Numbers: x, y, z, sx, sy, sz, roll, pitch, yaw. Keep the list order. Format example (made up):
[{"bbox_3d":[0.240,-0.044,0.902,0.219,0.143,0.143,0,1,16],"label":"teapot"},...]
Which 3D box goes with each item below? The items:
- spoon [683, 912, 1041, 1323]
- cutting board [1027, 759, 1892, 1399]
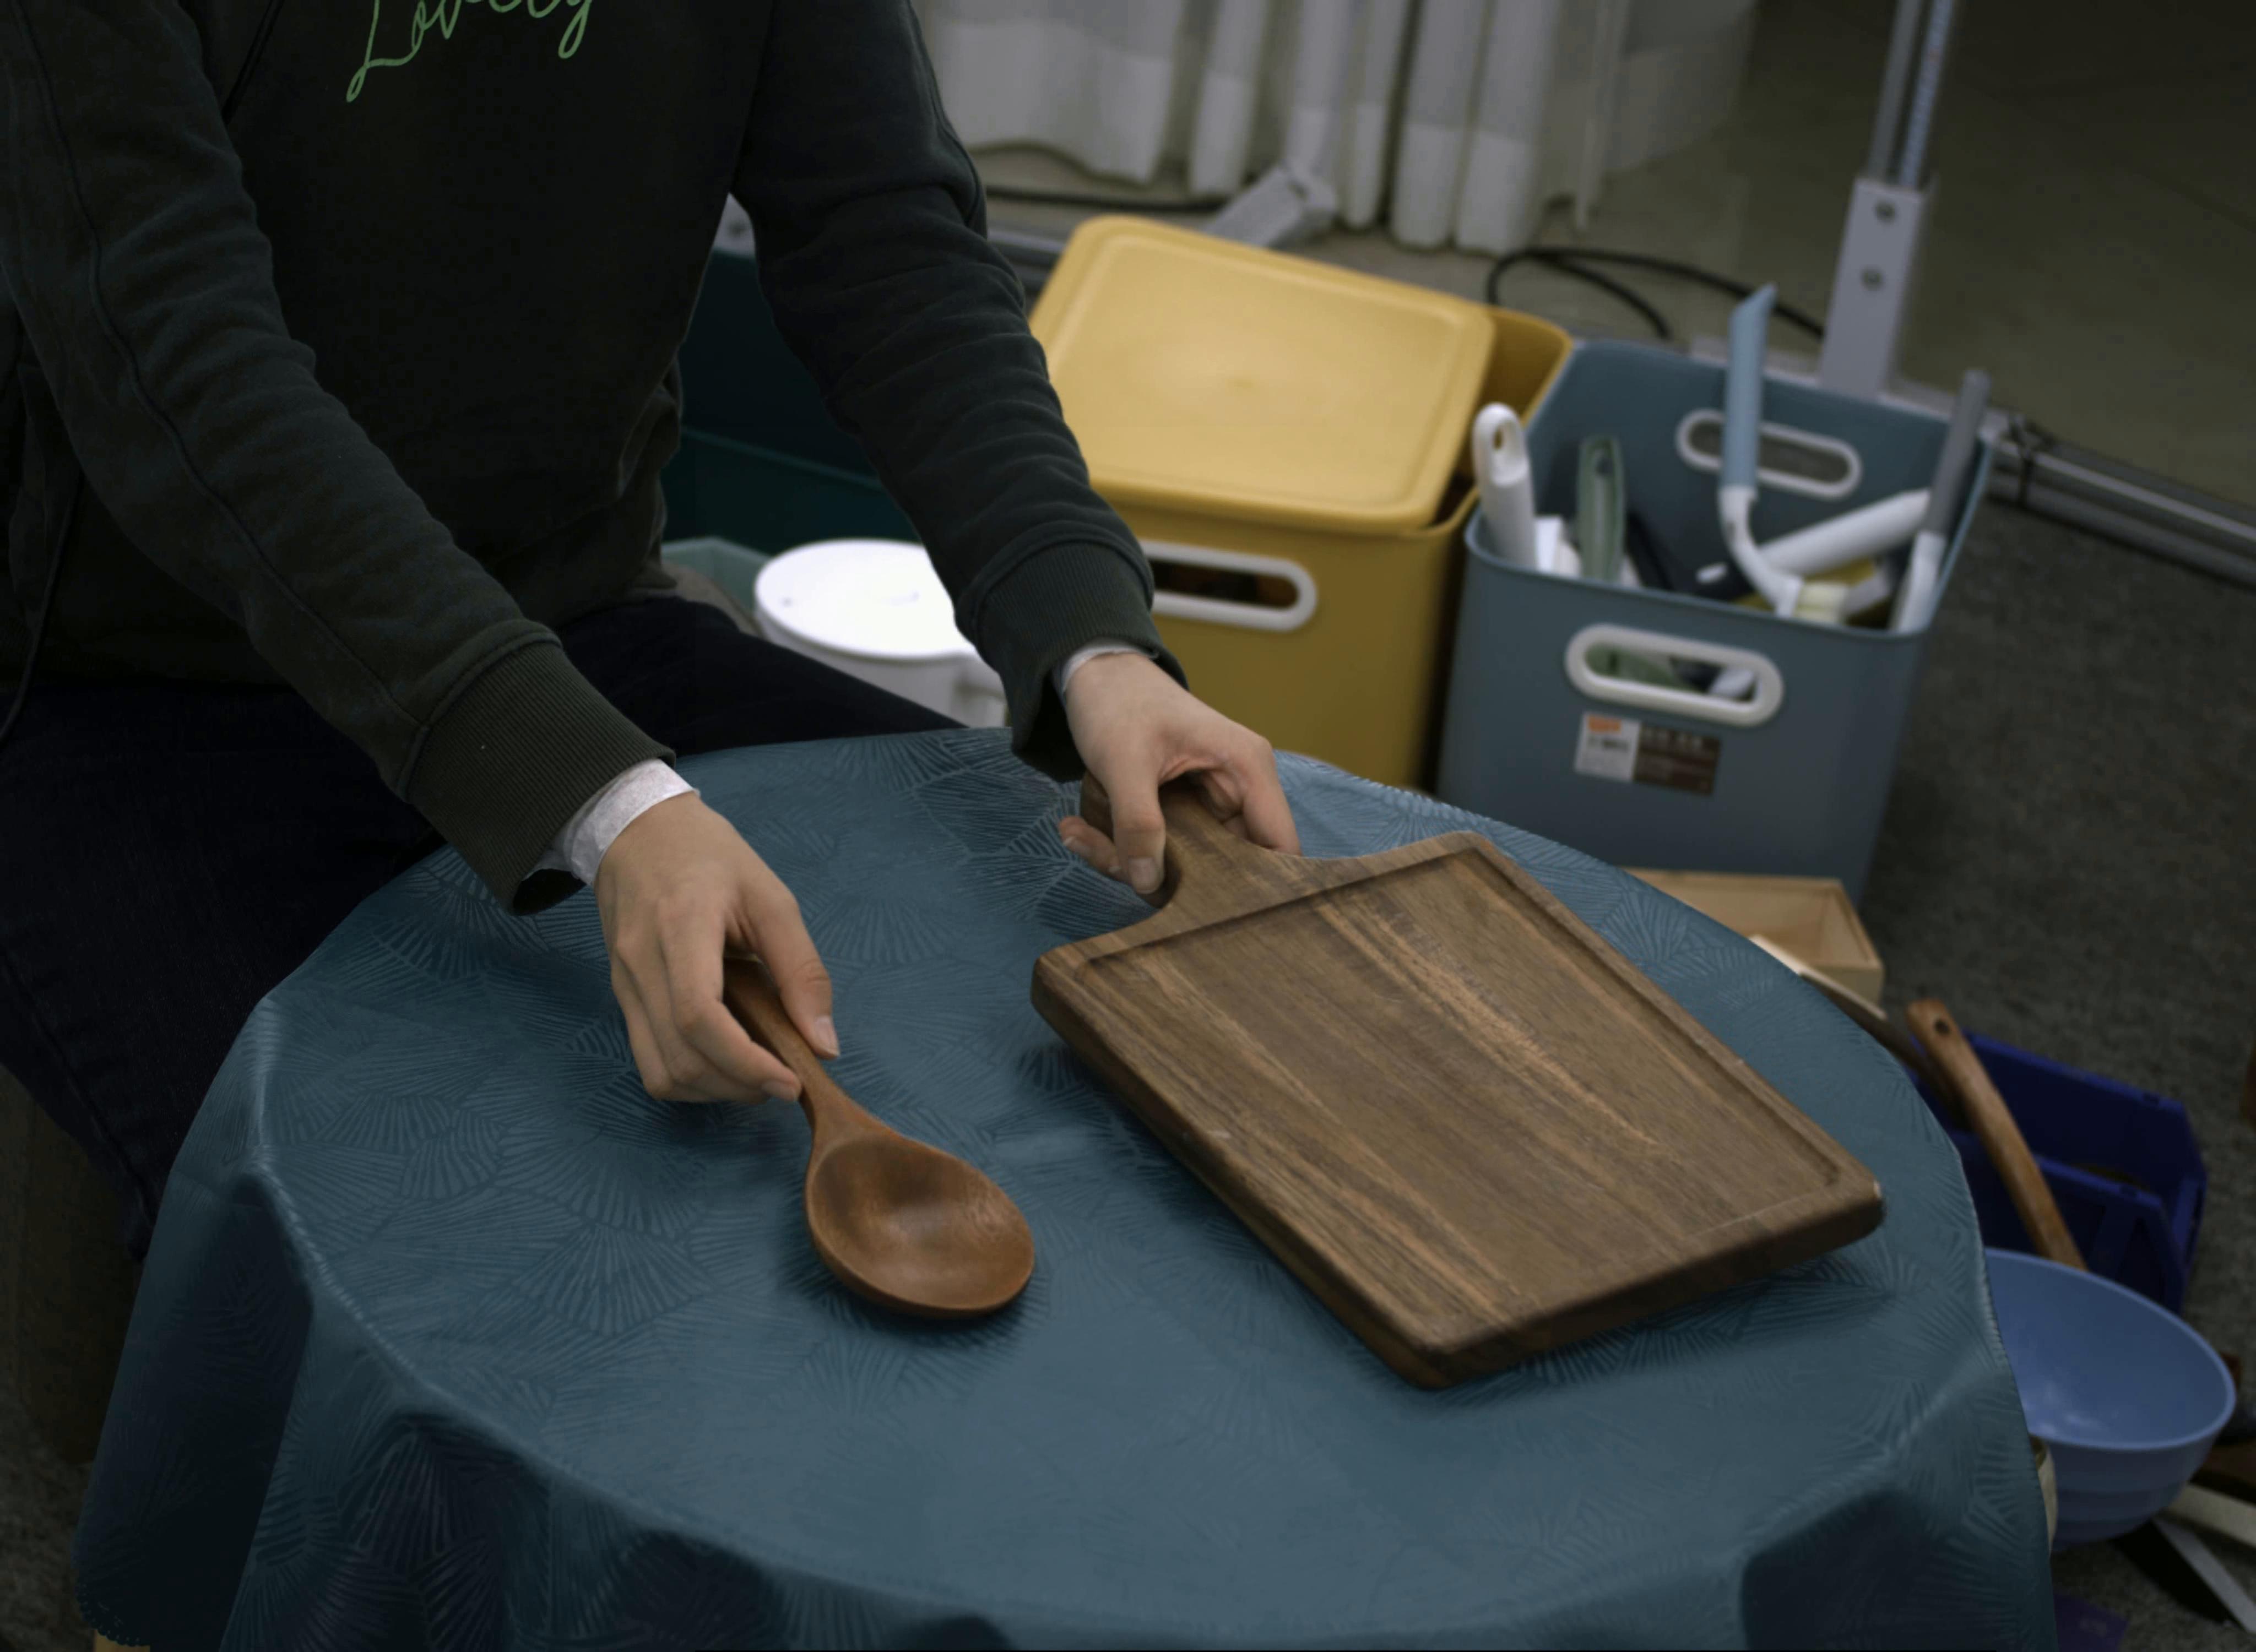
[{"bbox_3d":[-0.097,0.098,1.783,0.075,0.017,0.218,-10,41,-28],"label":"spoon"},{"bbox_3d":[0.085,0.068,1.867,0.200,0.023,0.355,-17,38,-28],"label":"cutting board"}]
